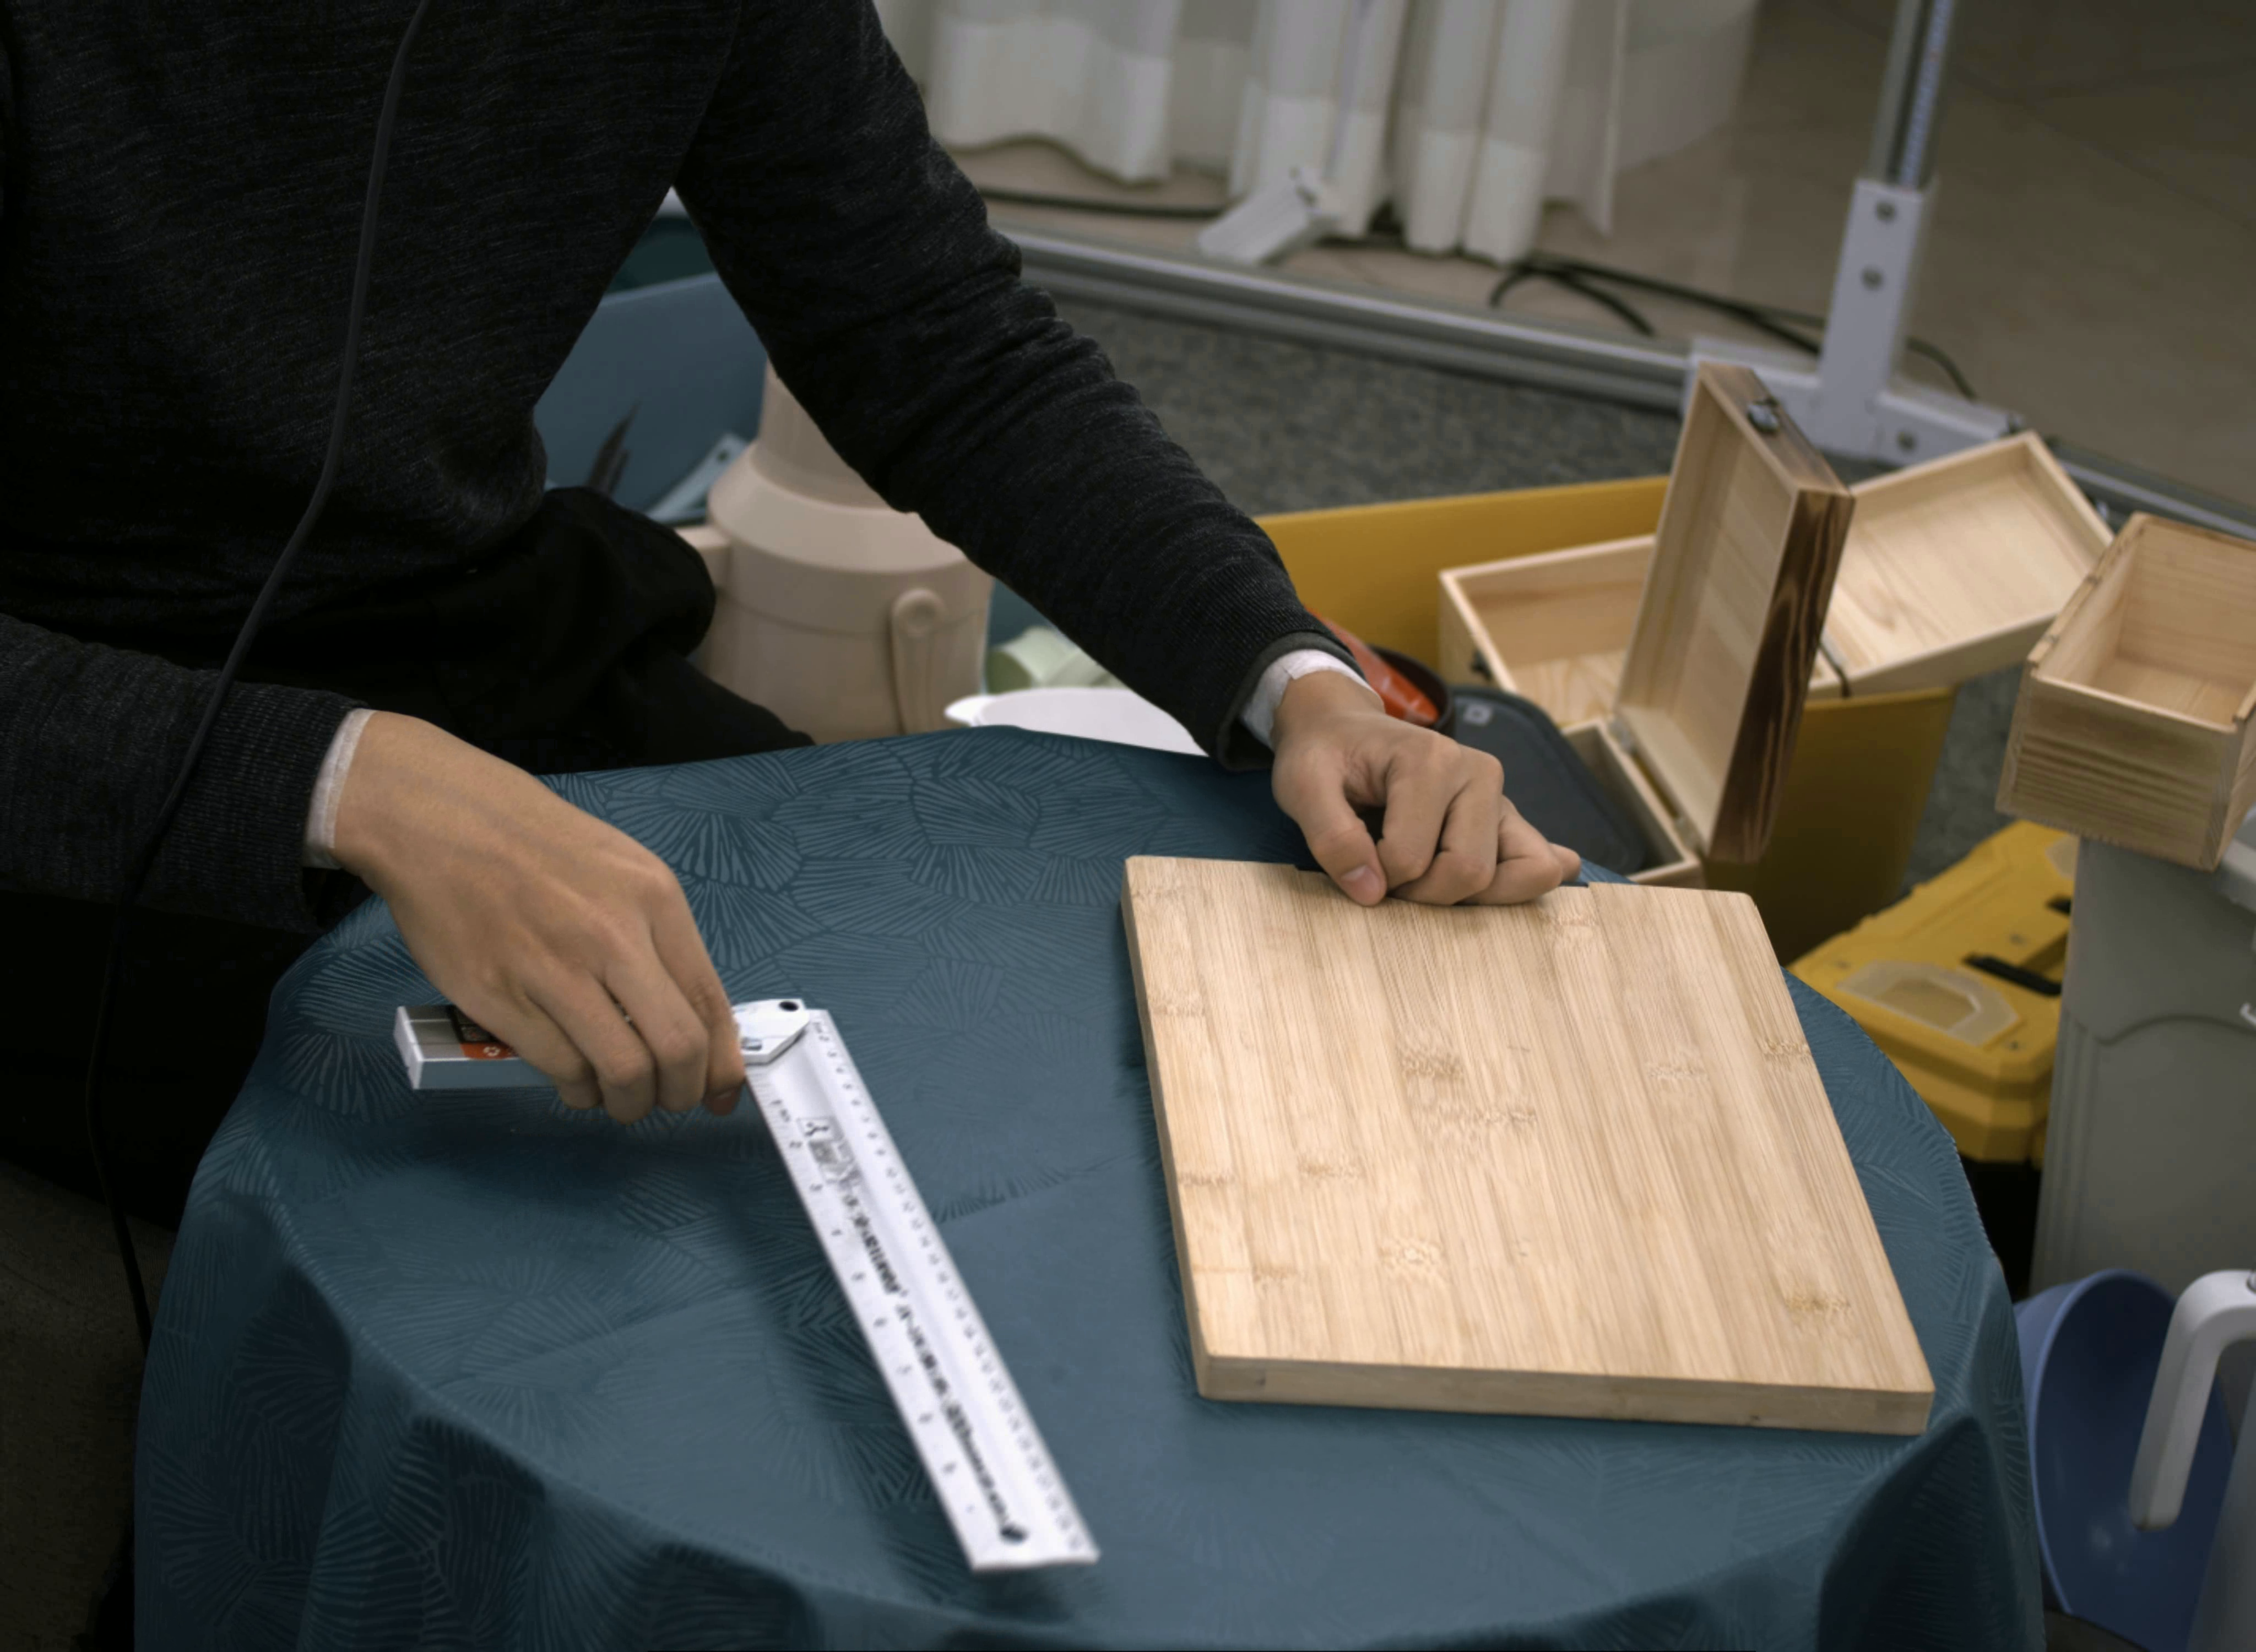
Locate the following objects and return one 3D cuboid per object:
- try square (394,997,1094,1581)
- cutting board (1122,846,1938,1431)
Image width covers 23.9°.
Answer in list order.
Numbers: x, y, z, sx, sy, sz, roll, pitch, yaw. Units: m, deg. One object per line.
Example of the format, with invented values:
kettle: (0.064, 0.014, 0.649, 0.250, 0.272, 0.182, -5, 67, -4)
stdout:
try square: (-0.128, 0.143, 1.675, 0.151, 0.016, 0.316, -1, 31, -19)
cutting board: (0.129, 0.102, 1.855, 0.249, 0.023, 0.351, 3, 27, -7)
